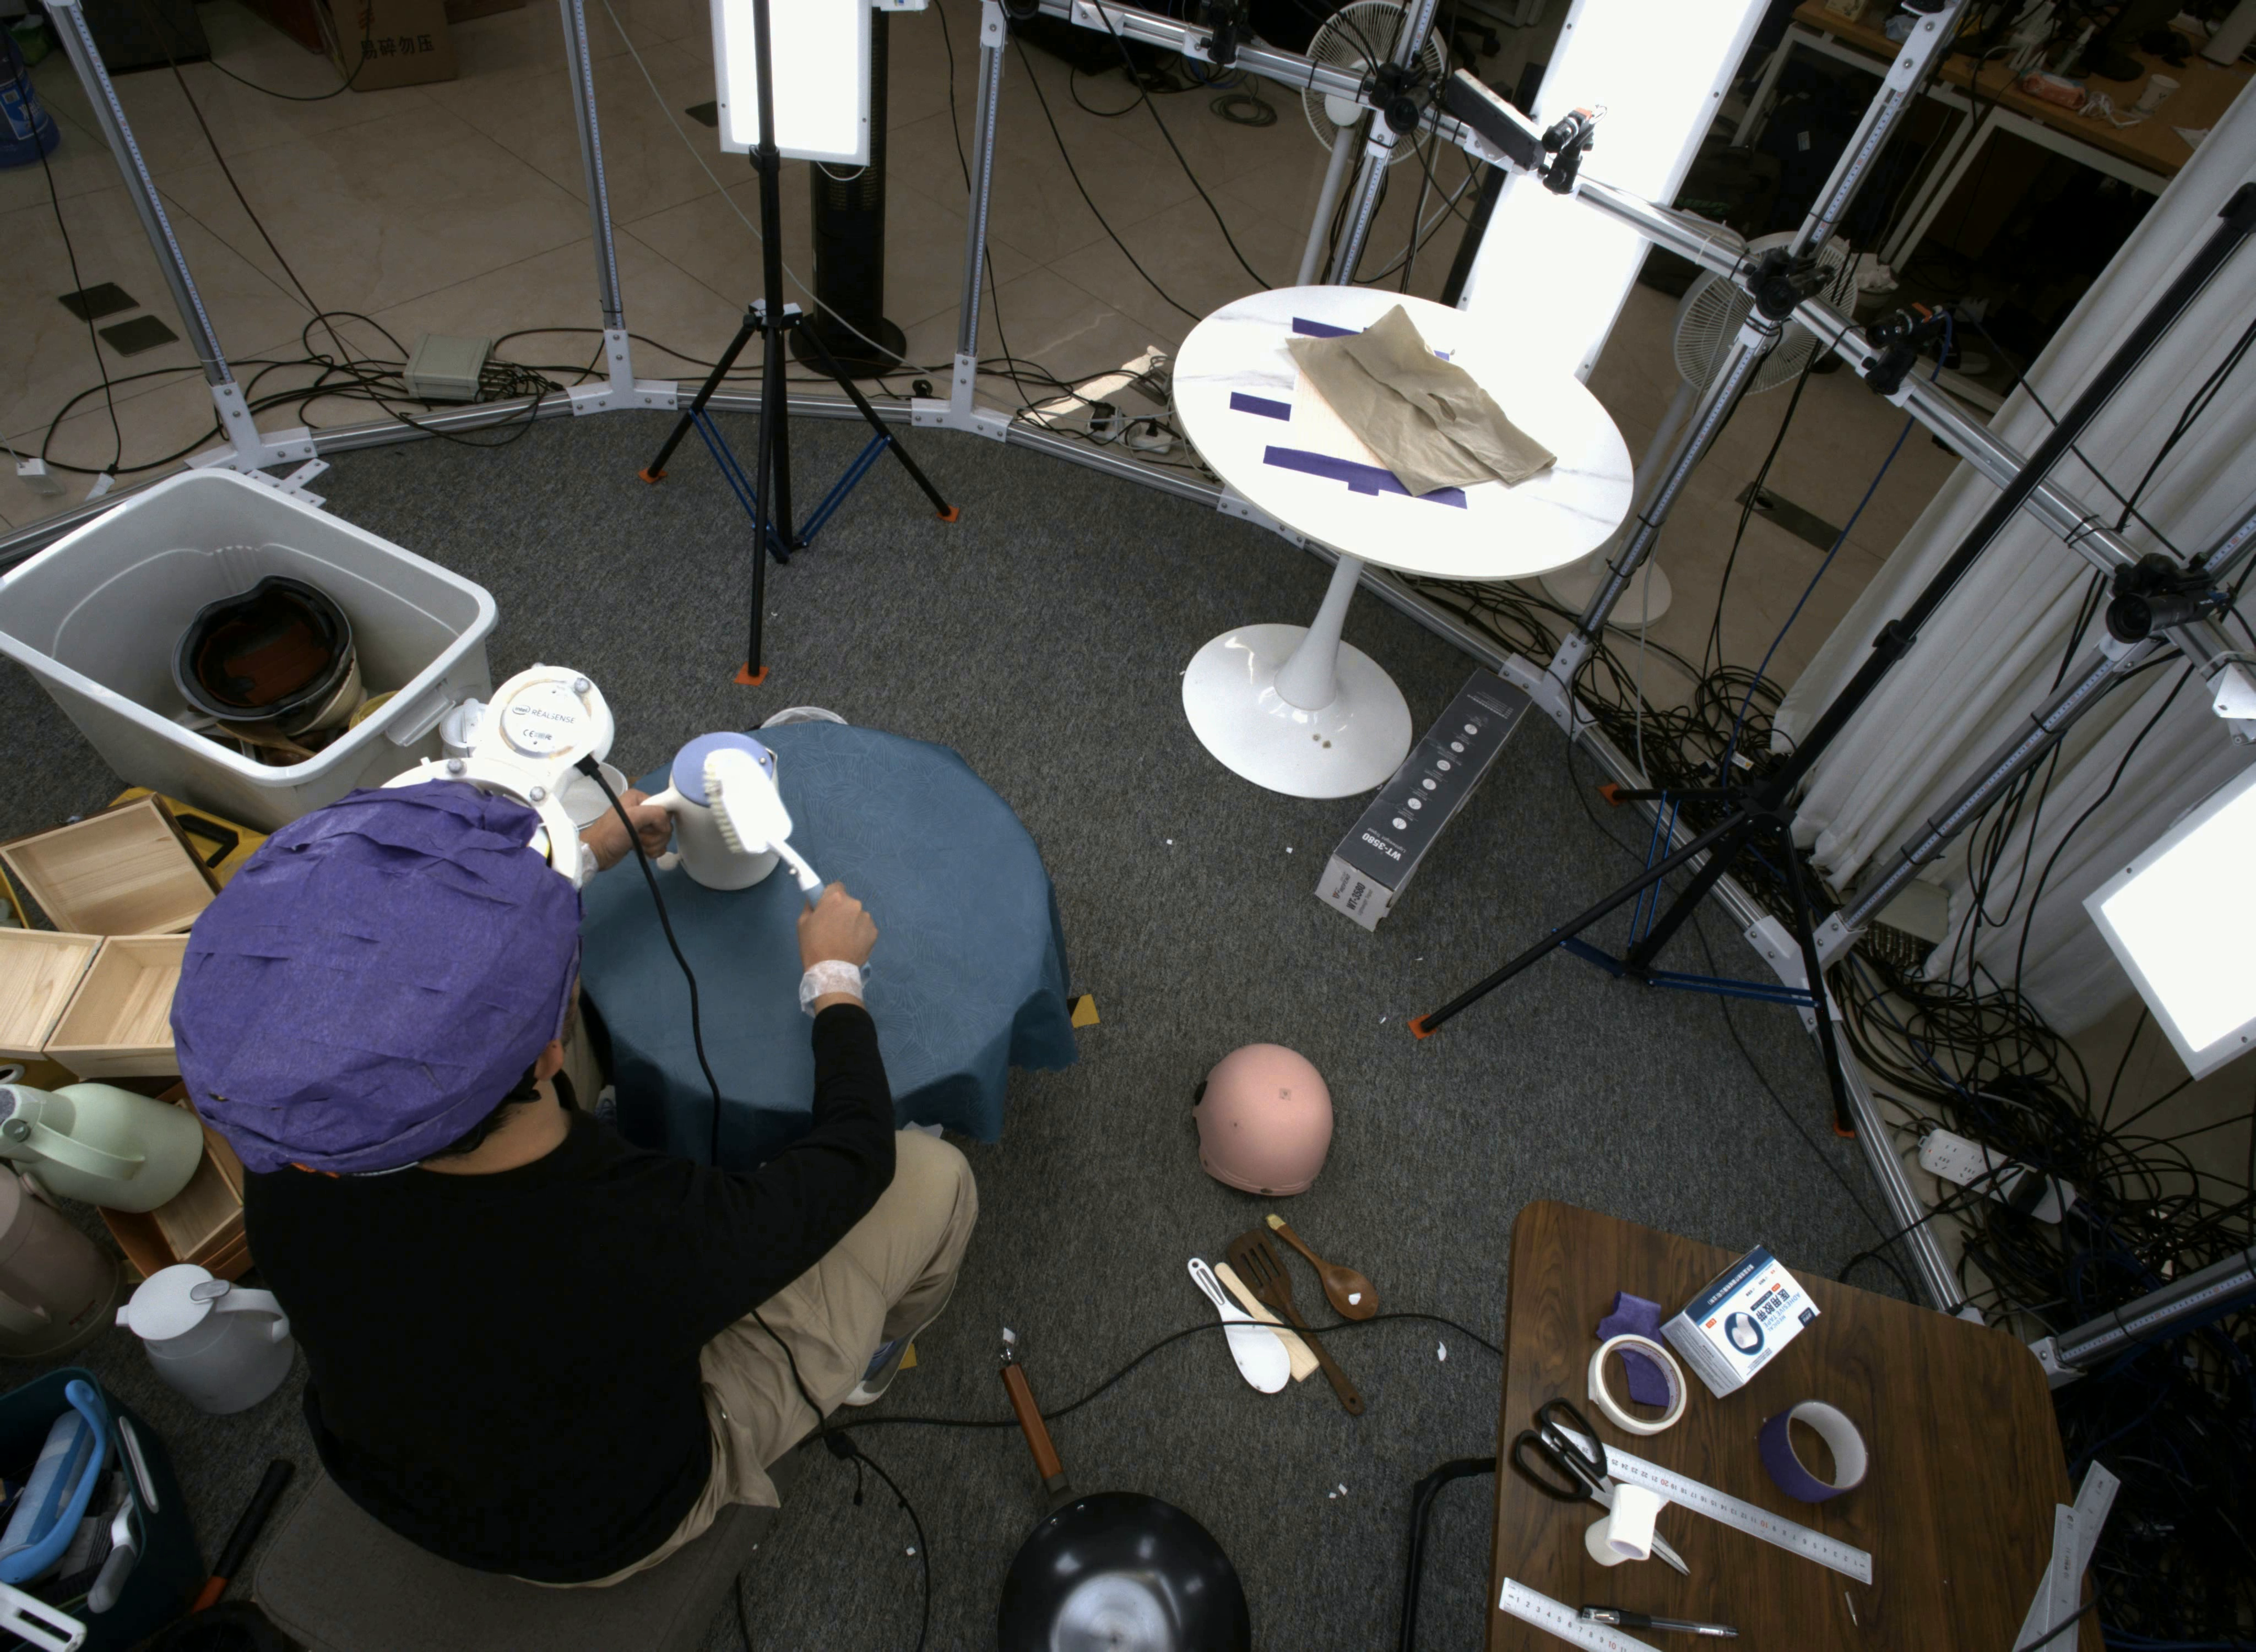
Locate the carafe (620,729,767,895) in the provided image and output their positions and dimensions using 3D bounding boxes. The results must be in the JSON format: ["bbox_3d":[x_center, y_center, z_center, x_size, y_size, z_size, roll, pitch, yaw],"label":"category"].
[{"bbox_3d":[-0.535,-0.009,1.584,0.192,0.186,0.129,-25,61,-27],"label":"carafe"}]

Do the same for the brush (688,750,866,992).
[{"bbox_3d":[-0.415,0.058,1.514,0.082,0.083,0.333,-29,105,3],"label":"brush"}]
